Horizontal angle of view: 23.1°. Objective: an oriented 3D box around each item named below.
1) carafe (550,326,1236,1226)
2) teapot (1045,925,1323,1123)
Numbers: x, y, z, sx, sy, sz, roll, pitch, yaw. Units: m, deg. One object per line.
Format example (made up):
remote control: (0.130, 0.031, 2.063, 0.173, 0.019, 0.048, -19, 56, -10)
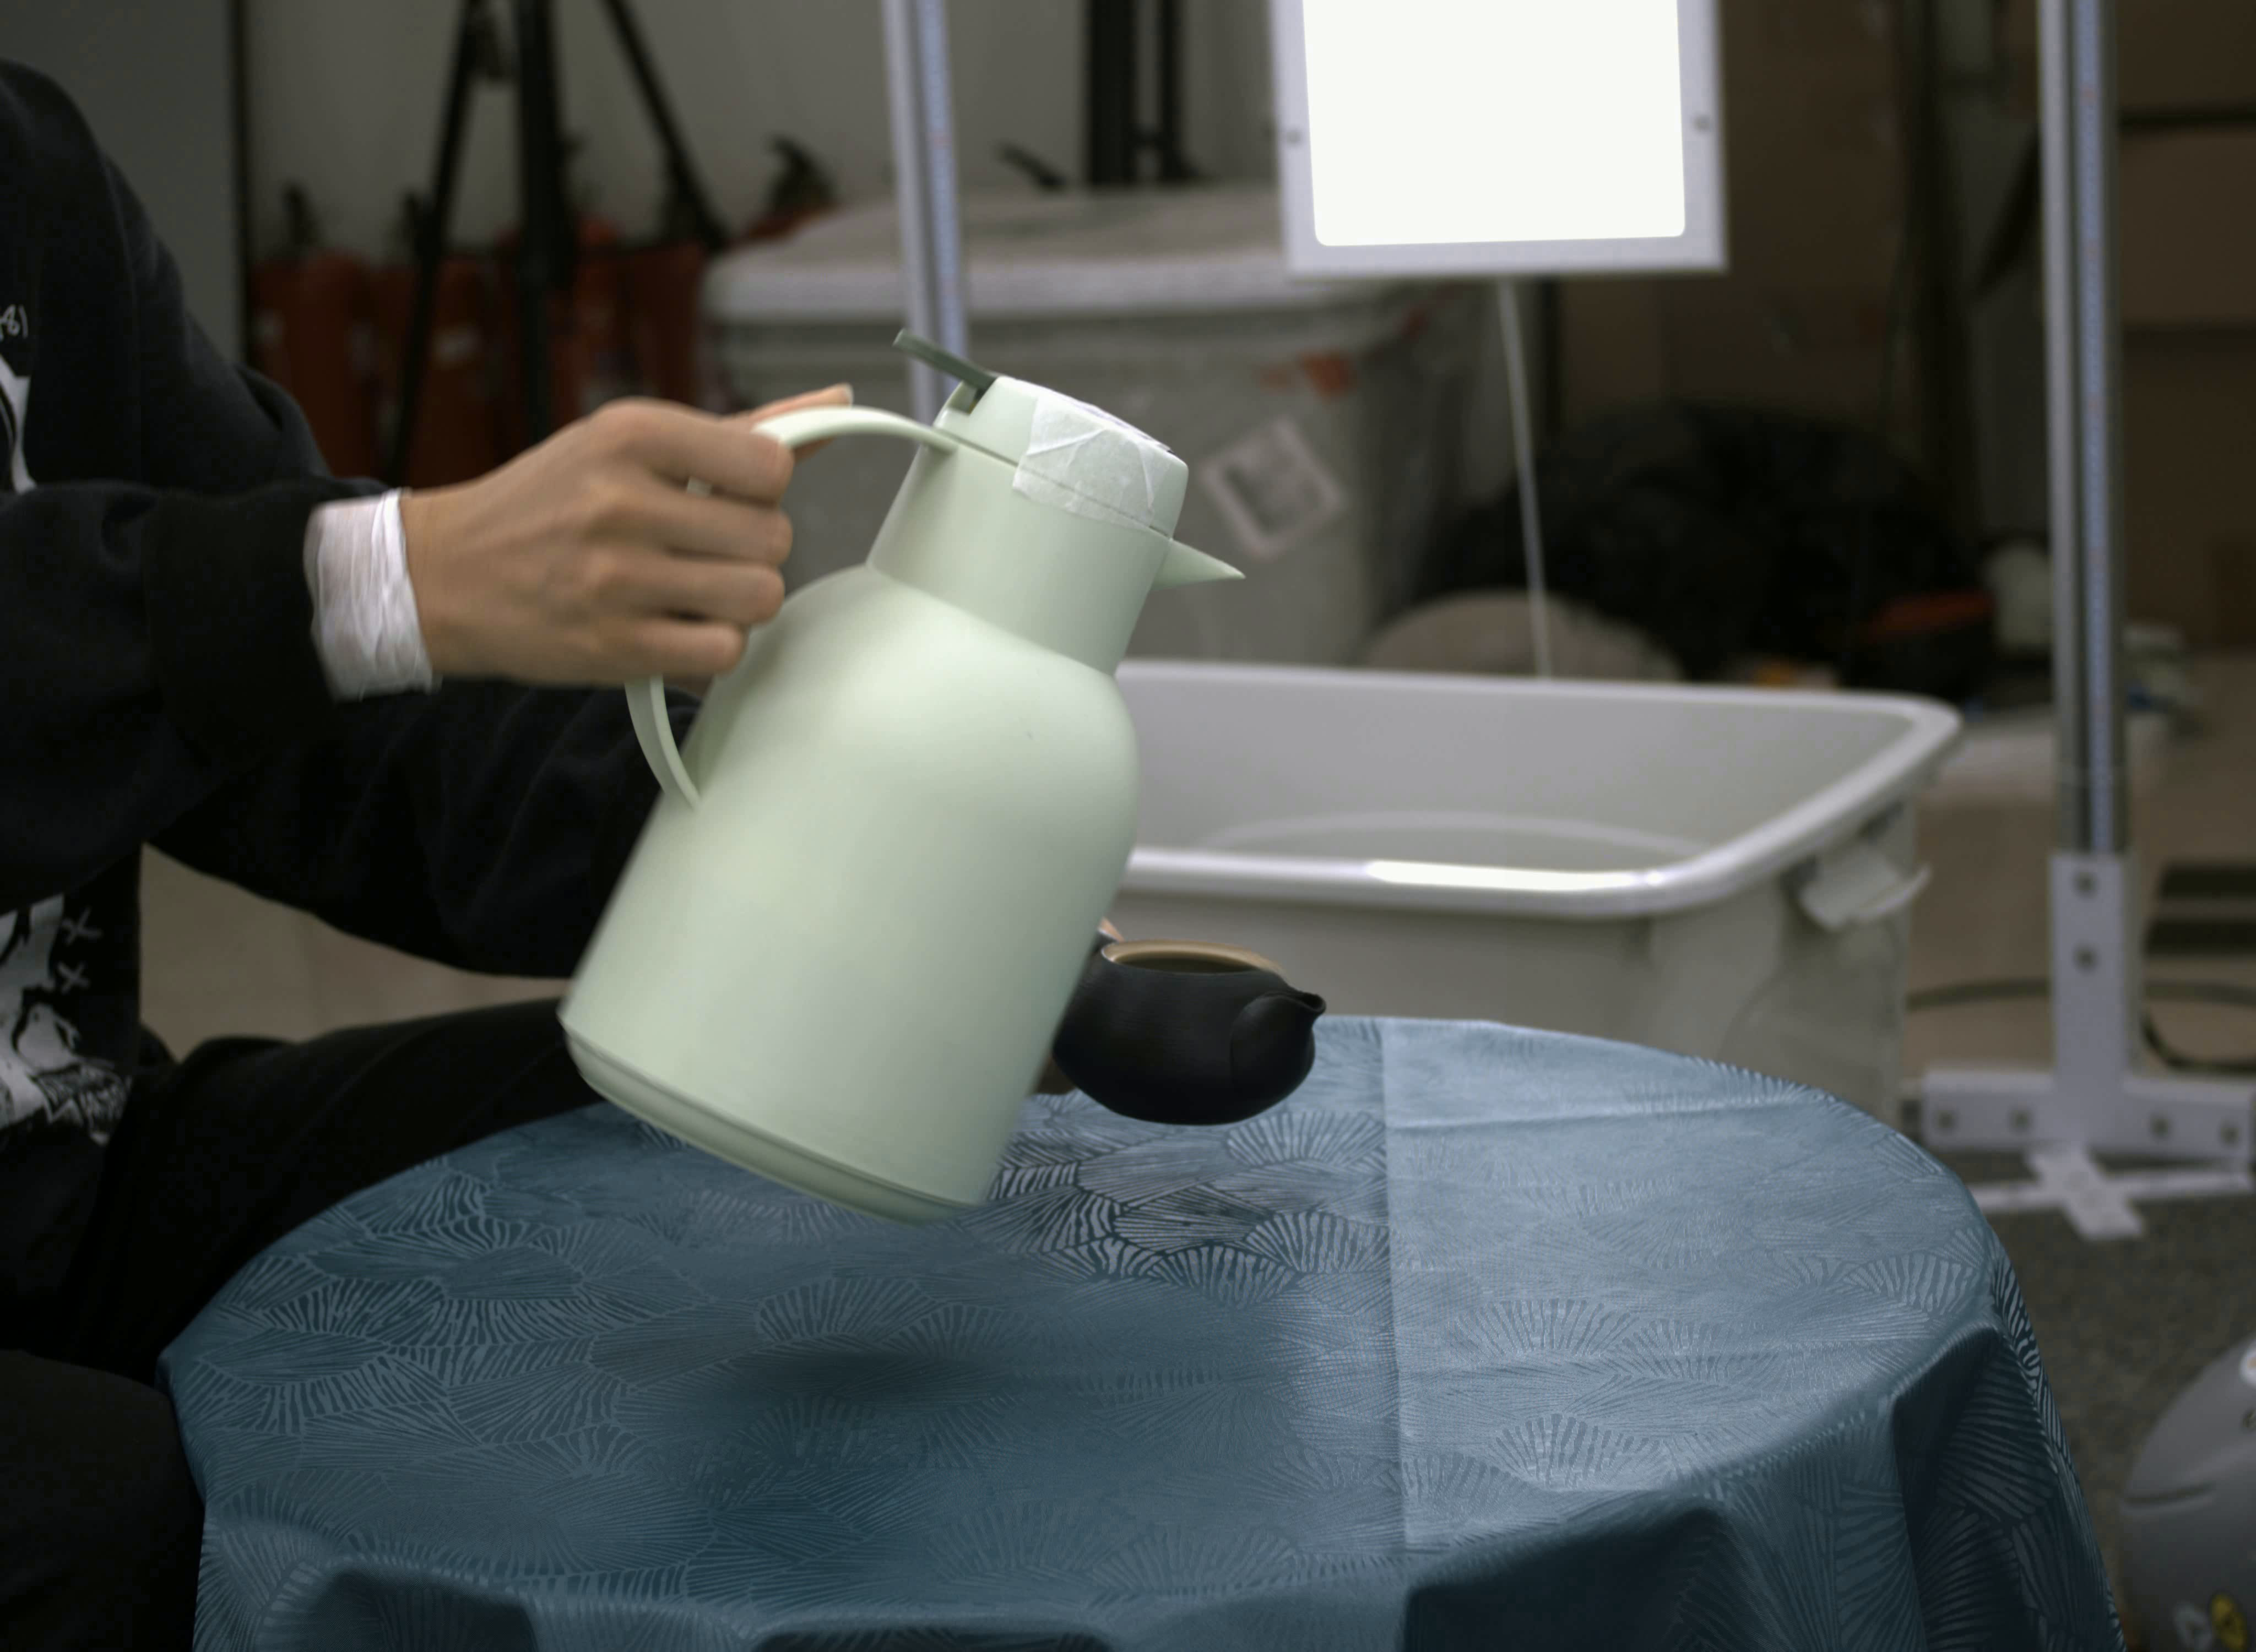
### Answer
carafe: (-0.080, -0.020, 1.705, 0.183, 0.258, 0.146, 21, 4, -25)
teapot: (0.017, 0.069, 1.863, 0.088, 0.053, 0.136, -4, 14, -41)
